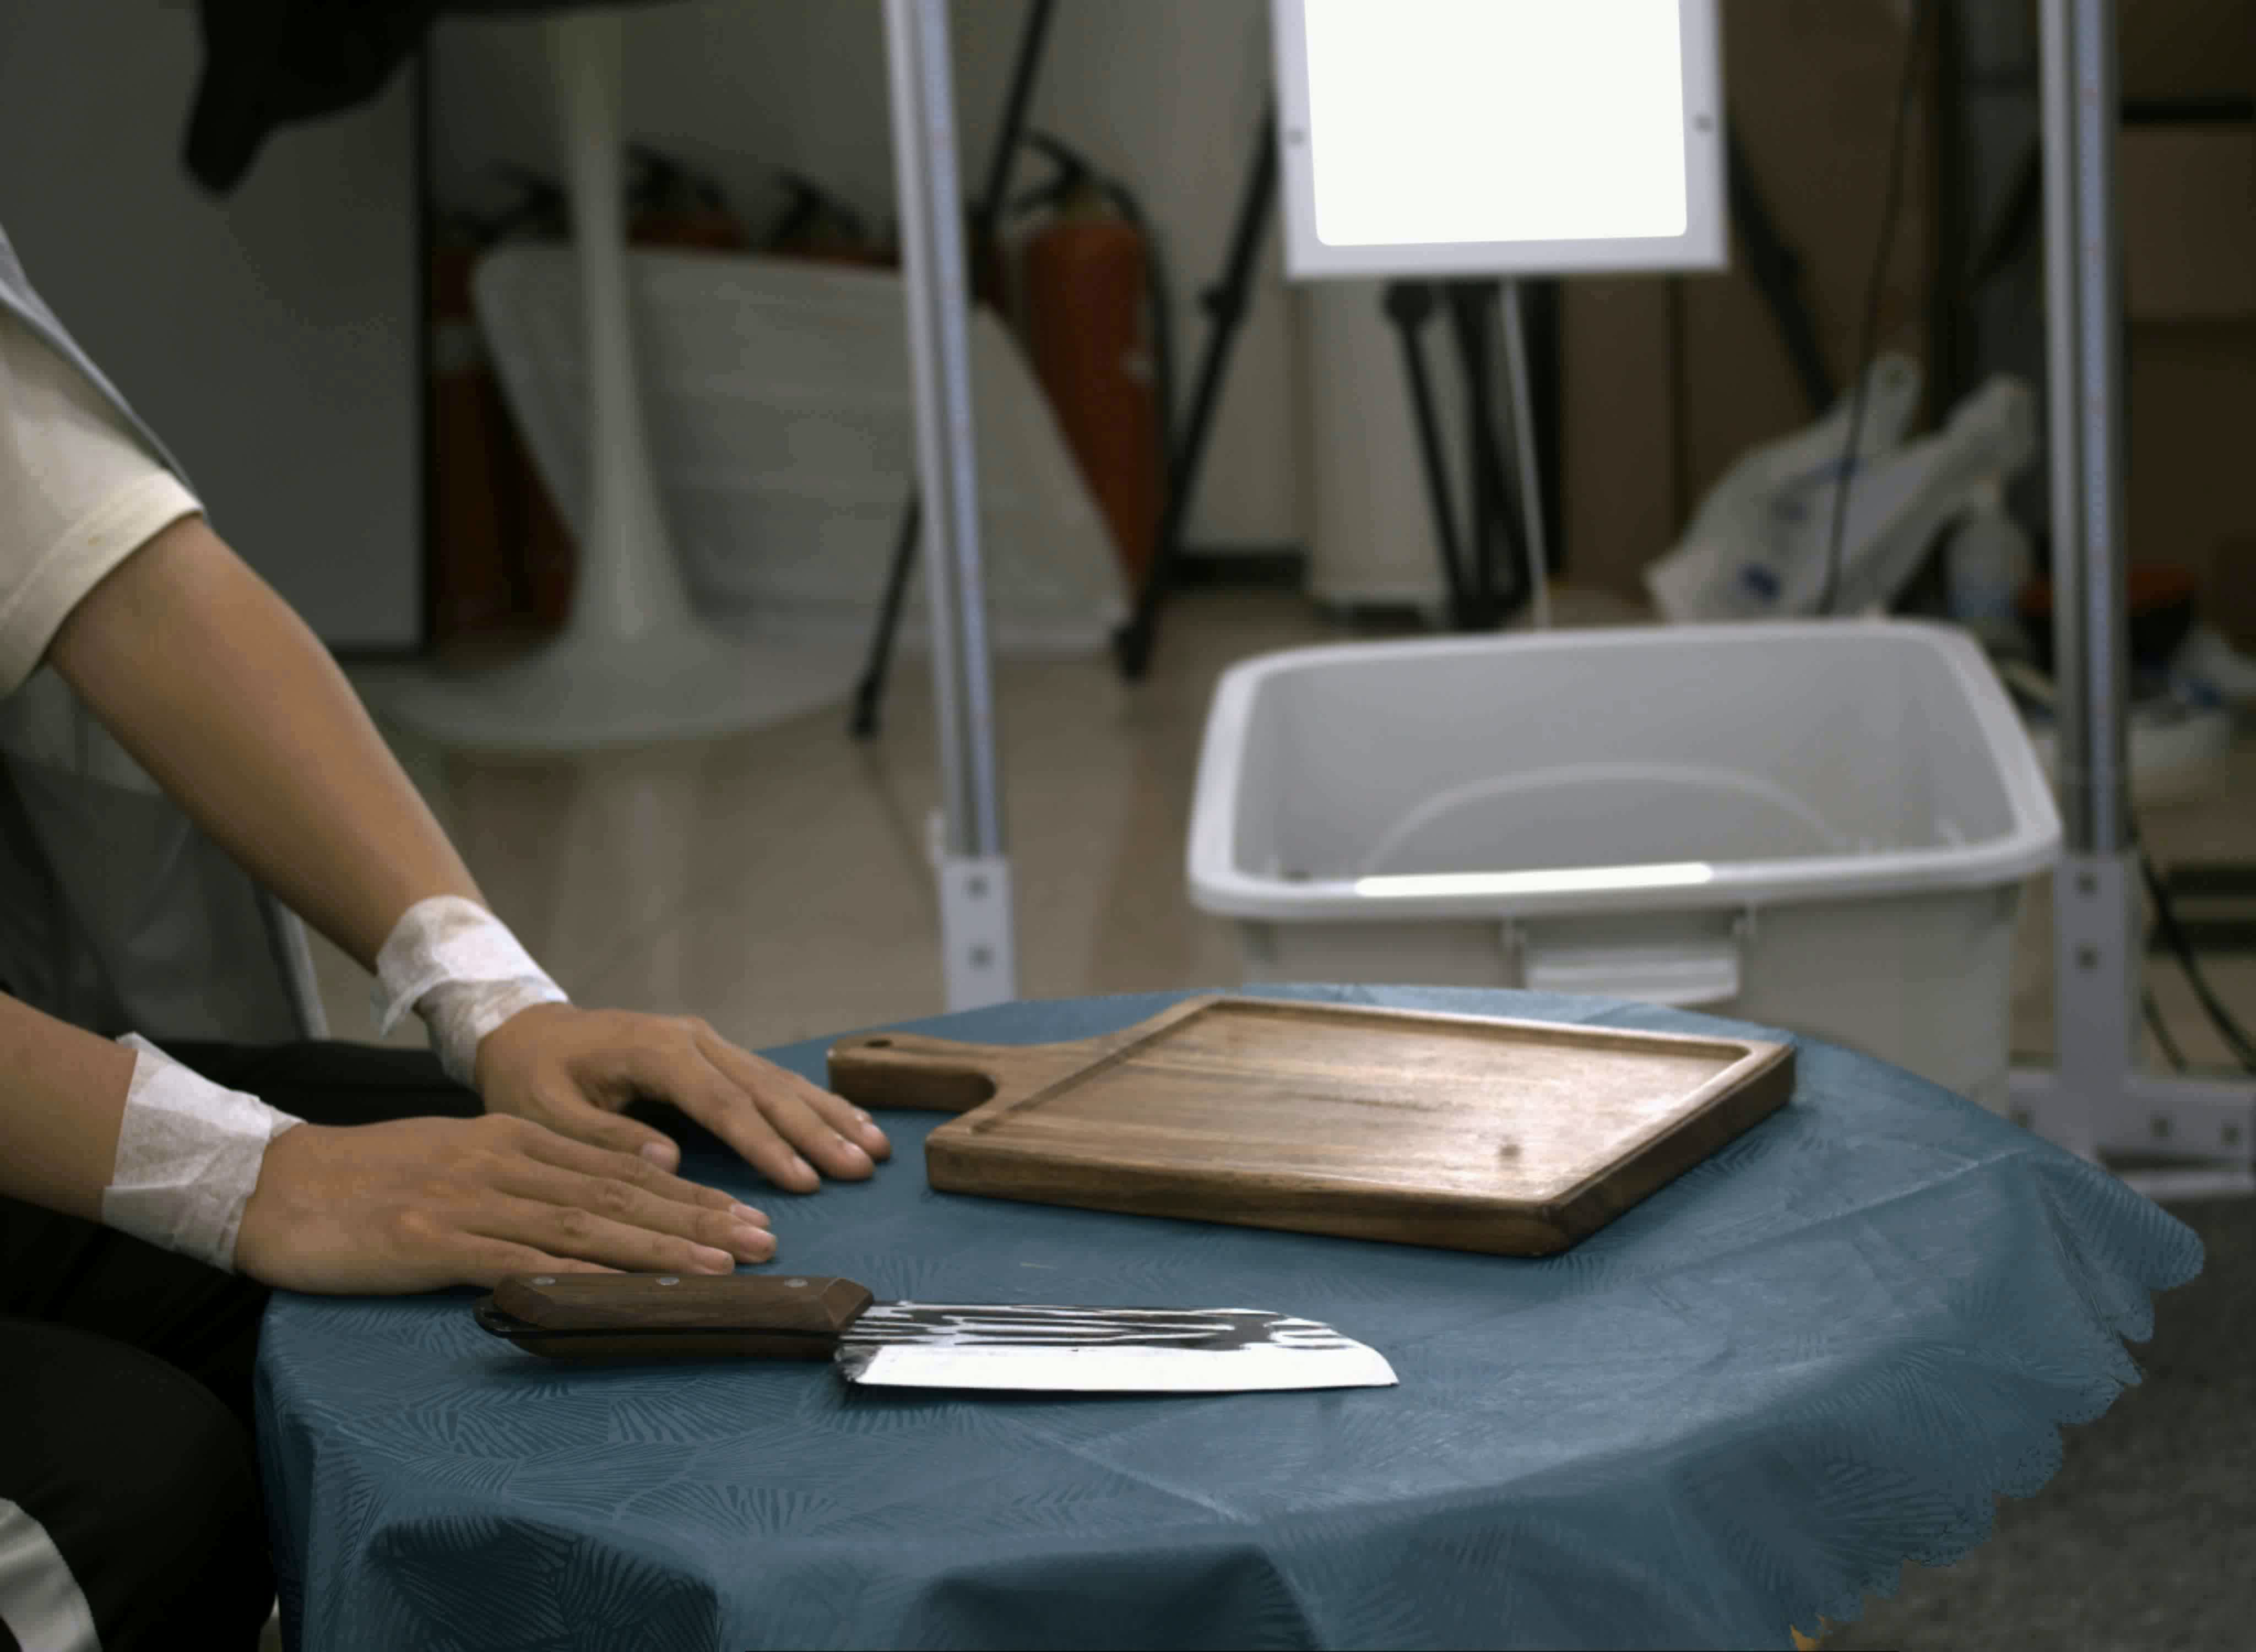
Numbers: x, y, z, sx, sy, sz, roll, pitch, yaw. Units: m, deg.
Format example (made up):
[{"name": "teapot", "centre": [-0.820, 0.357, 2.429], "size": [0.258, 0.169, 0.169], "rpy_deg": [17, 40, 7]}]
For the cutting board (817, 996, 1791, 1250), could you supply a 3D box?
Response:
[{"name": "cutting board", "centre": [0.040, 0.098, 1.954], "size": [0.359, 0.023, 0.196], "rpy_deg": [3, 16, 33]}]

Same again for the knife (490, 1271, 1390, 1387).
[{"name": "knife", "centre": [-0.063, 0.162, 1.734], "size": [0.302, 0.024, 0.067], "rpy_deg": [1, 17, 12]}]
